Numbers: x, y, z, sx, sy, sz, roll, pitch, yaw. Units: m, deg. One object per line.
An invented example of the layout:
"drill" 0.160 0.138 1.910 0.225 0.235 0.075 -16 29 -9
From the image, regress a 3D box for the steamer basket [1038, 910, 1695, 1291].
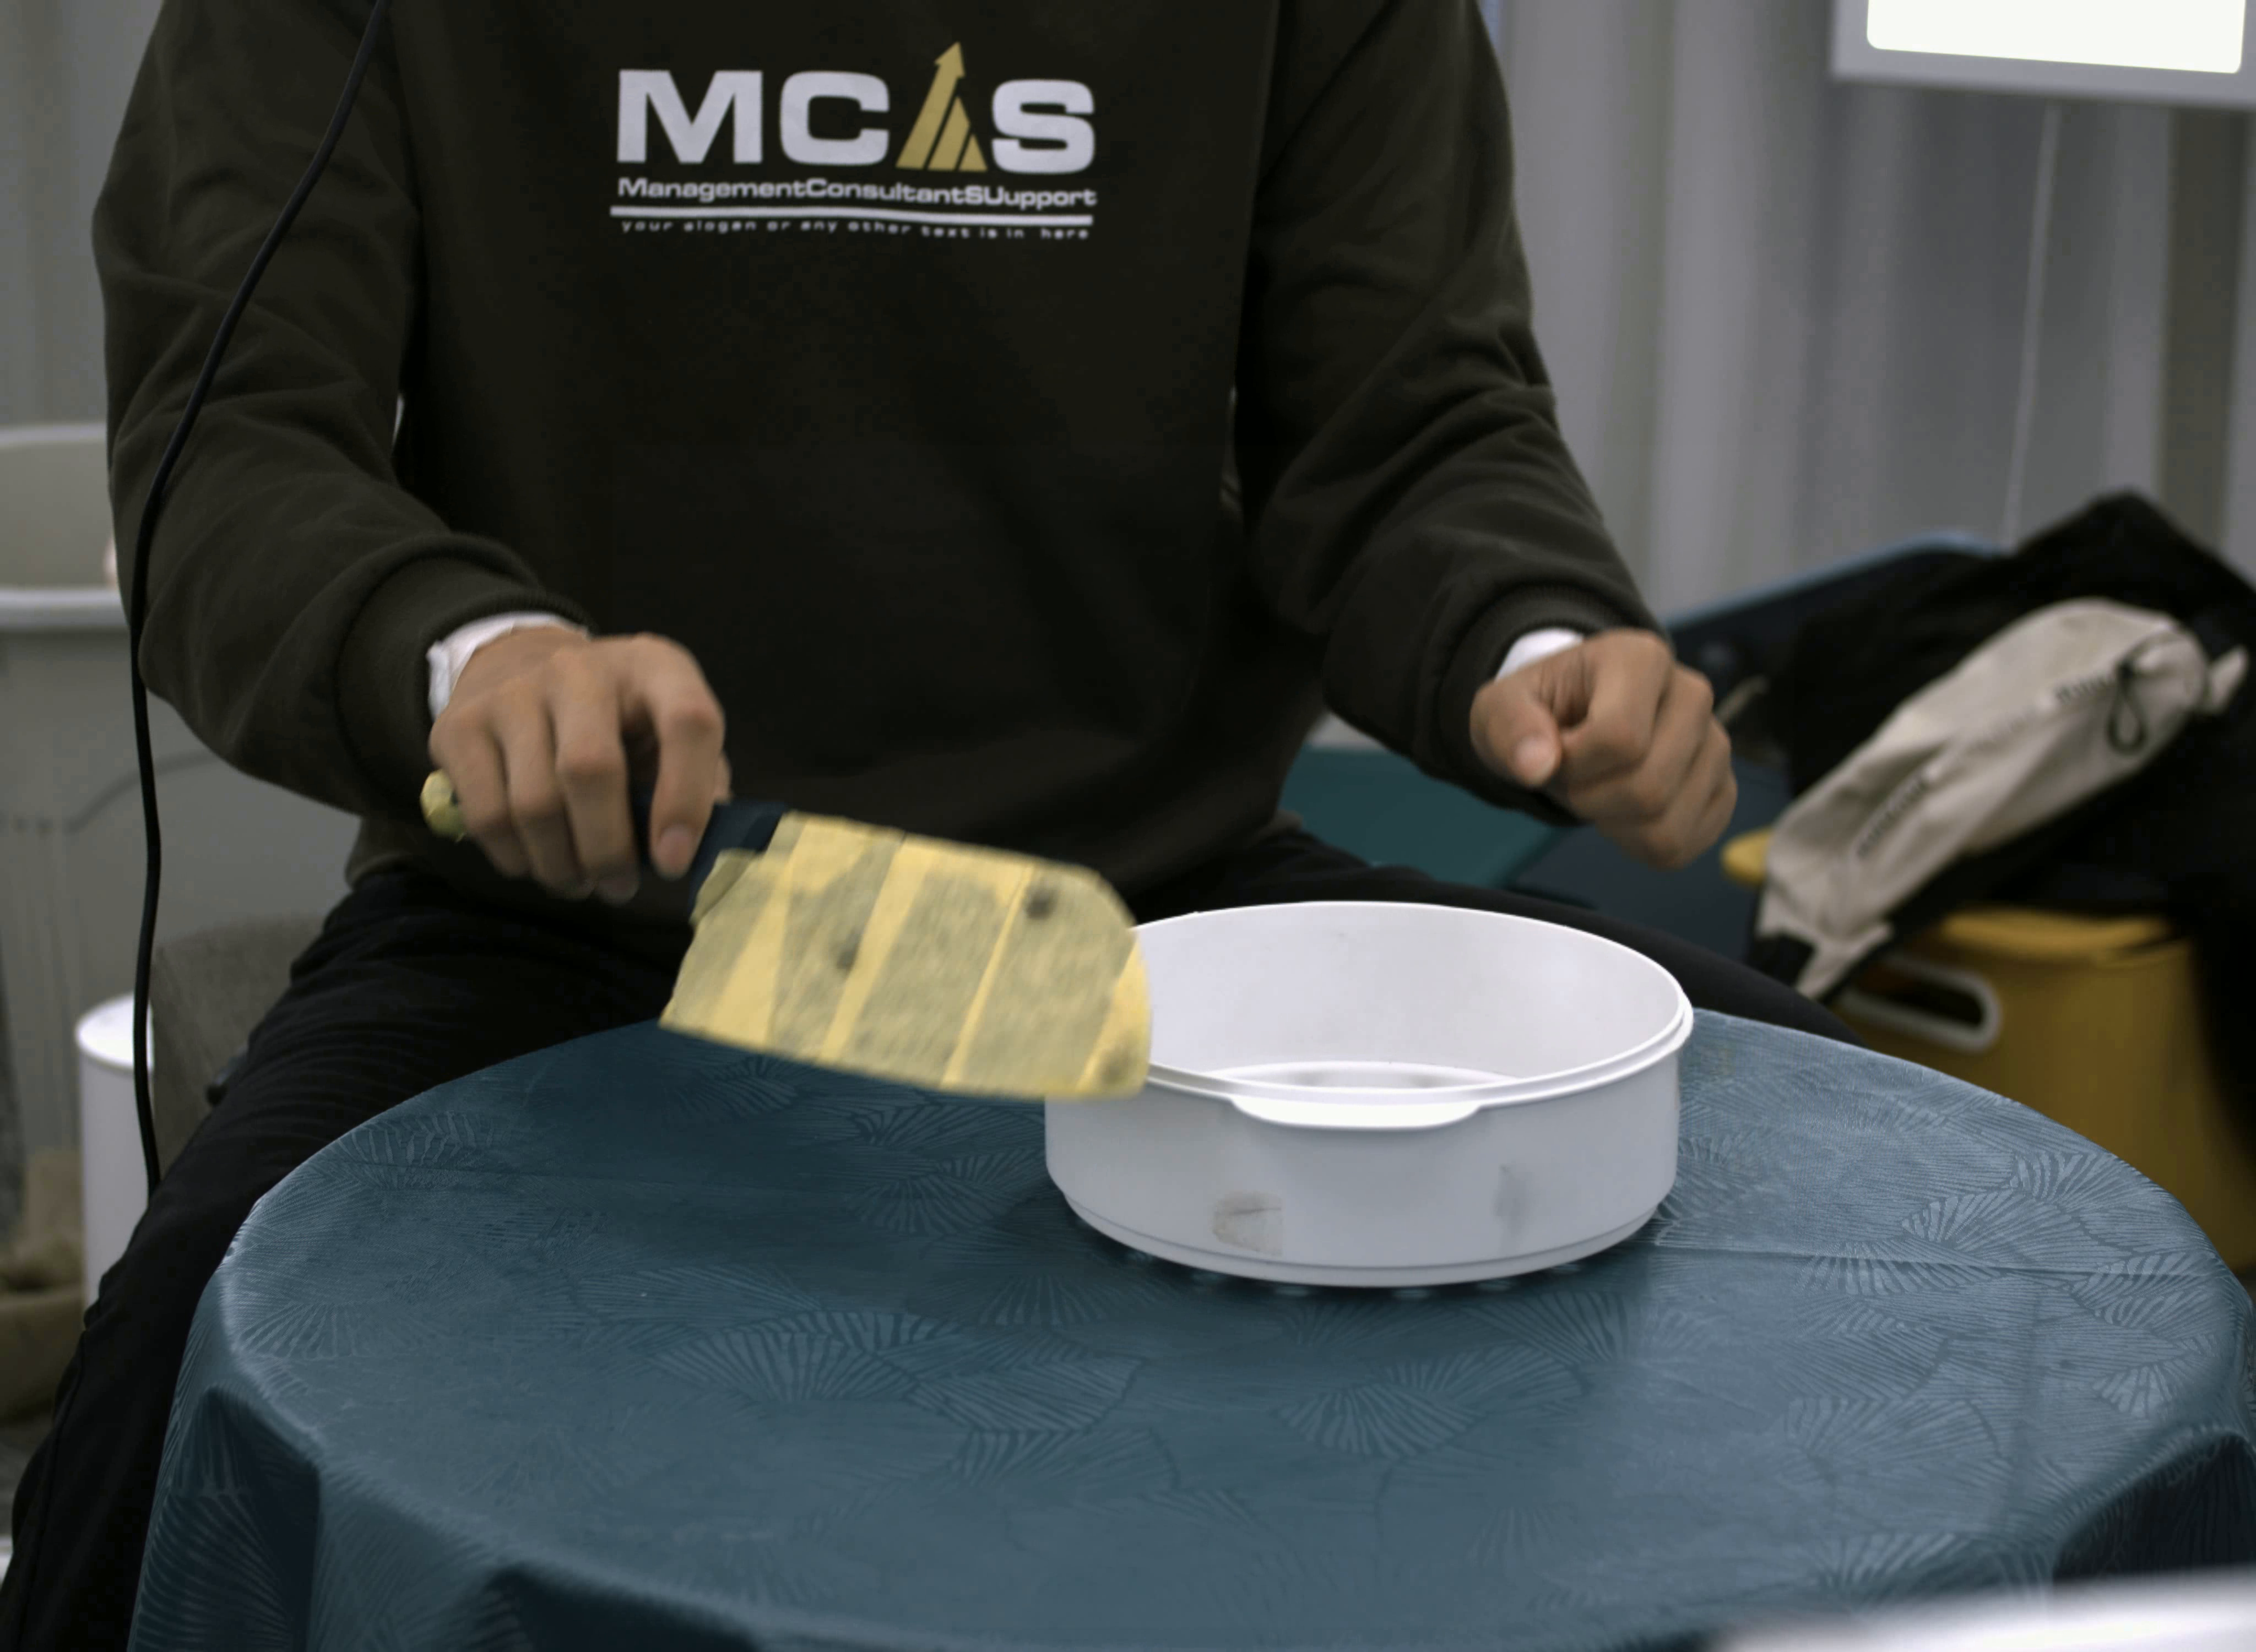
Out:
"steamer basket" 0.071 0.083 1.606 0.201 0.070 0.230 2 15 4

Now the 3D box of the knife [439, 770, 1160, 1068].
"knife" -0.103 0.026 1.558 0.286 0.081 0.027 12 -19 37
